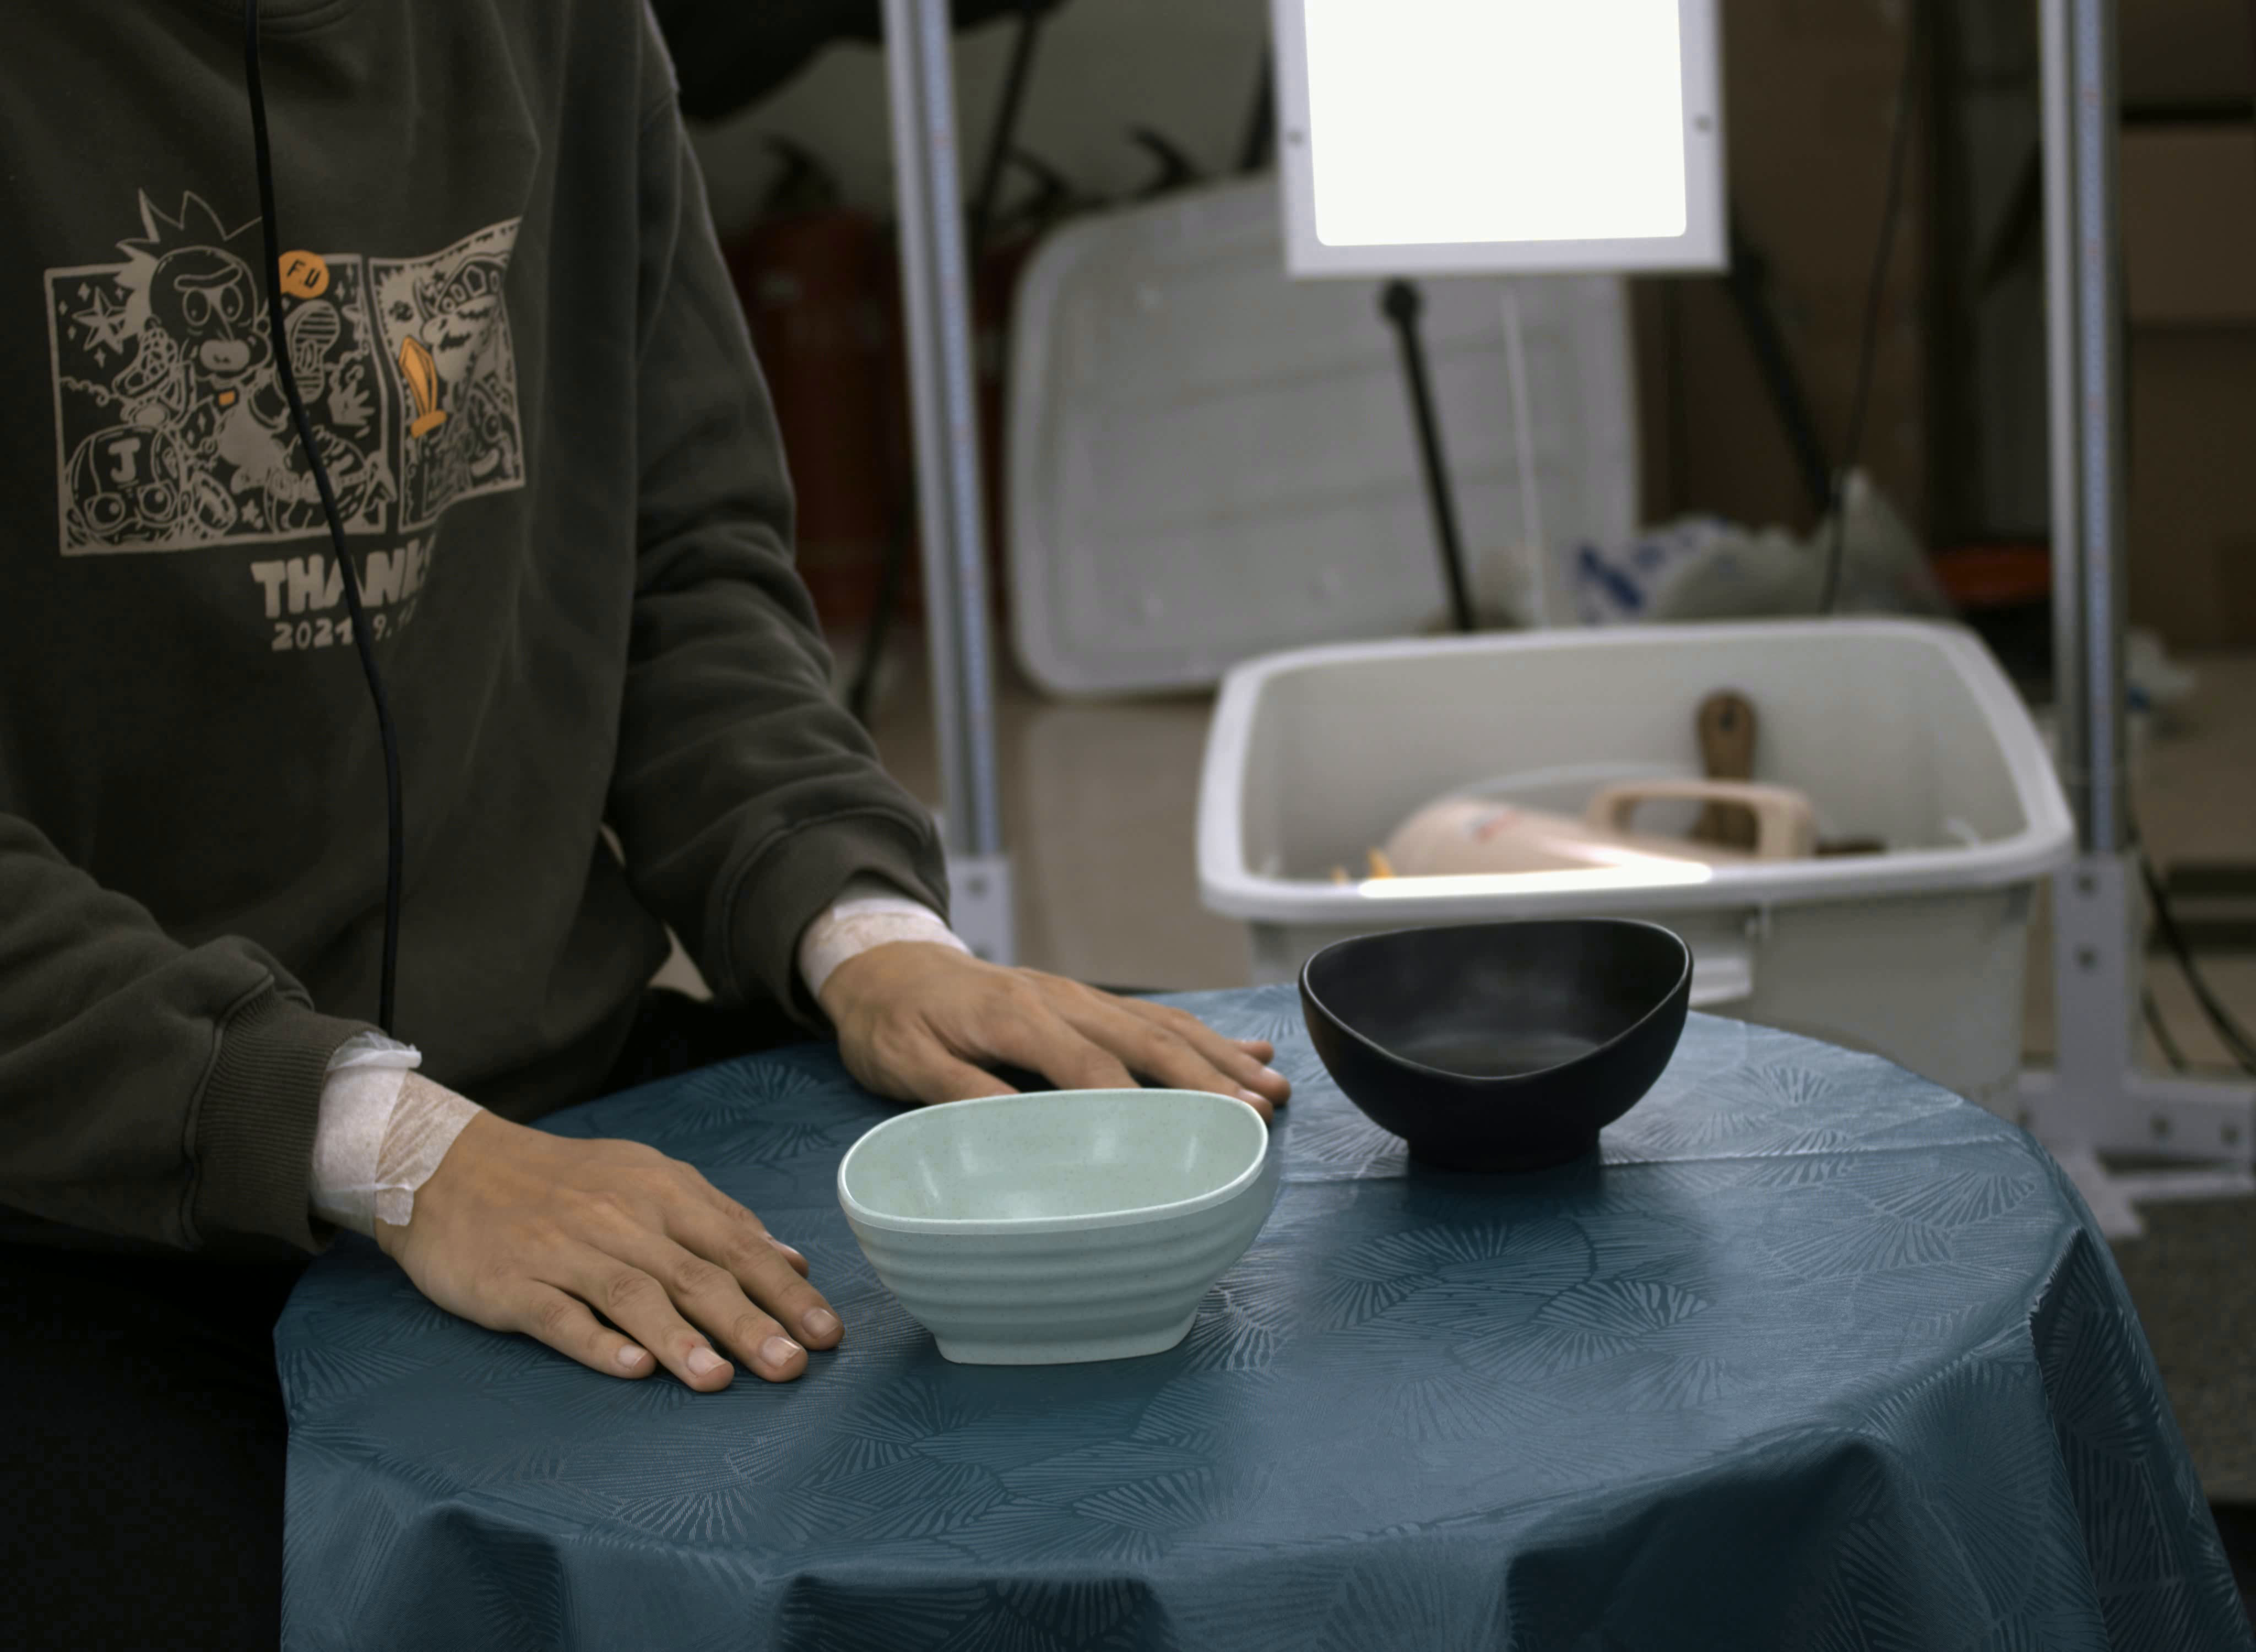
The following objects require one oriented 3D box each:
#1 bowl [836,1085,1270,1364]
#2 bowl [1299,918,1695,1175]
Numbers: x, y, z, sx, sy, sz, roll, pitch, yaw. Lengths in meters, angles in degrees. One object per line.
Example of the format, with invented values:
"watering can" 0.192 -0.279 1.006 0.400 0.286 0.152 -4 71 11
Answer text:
"bowl" -0.023 0.131 1.765 0.151 0.059 0.151 -3 15 -1
"bowl" 0.130 0.080 1.906 0.137 0.067 0.169 -4 15 3
